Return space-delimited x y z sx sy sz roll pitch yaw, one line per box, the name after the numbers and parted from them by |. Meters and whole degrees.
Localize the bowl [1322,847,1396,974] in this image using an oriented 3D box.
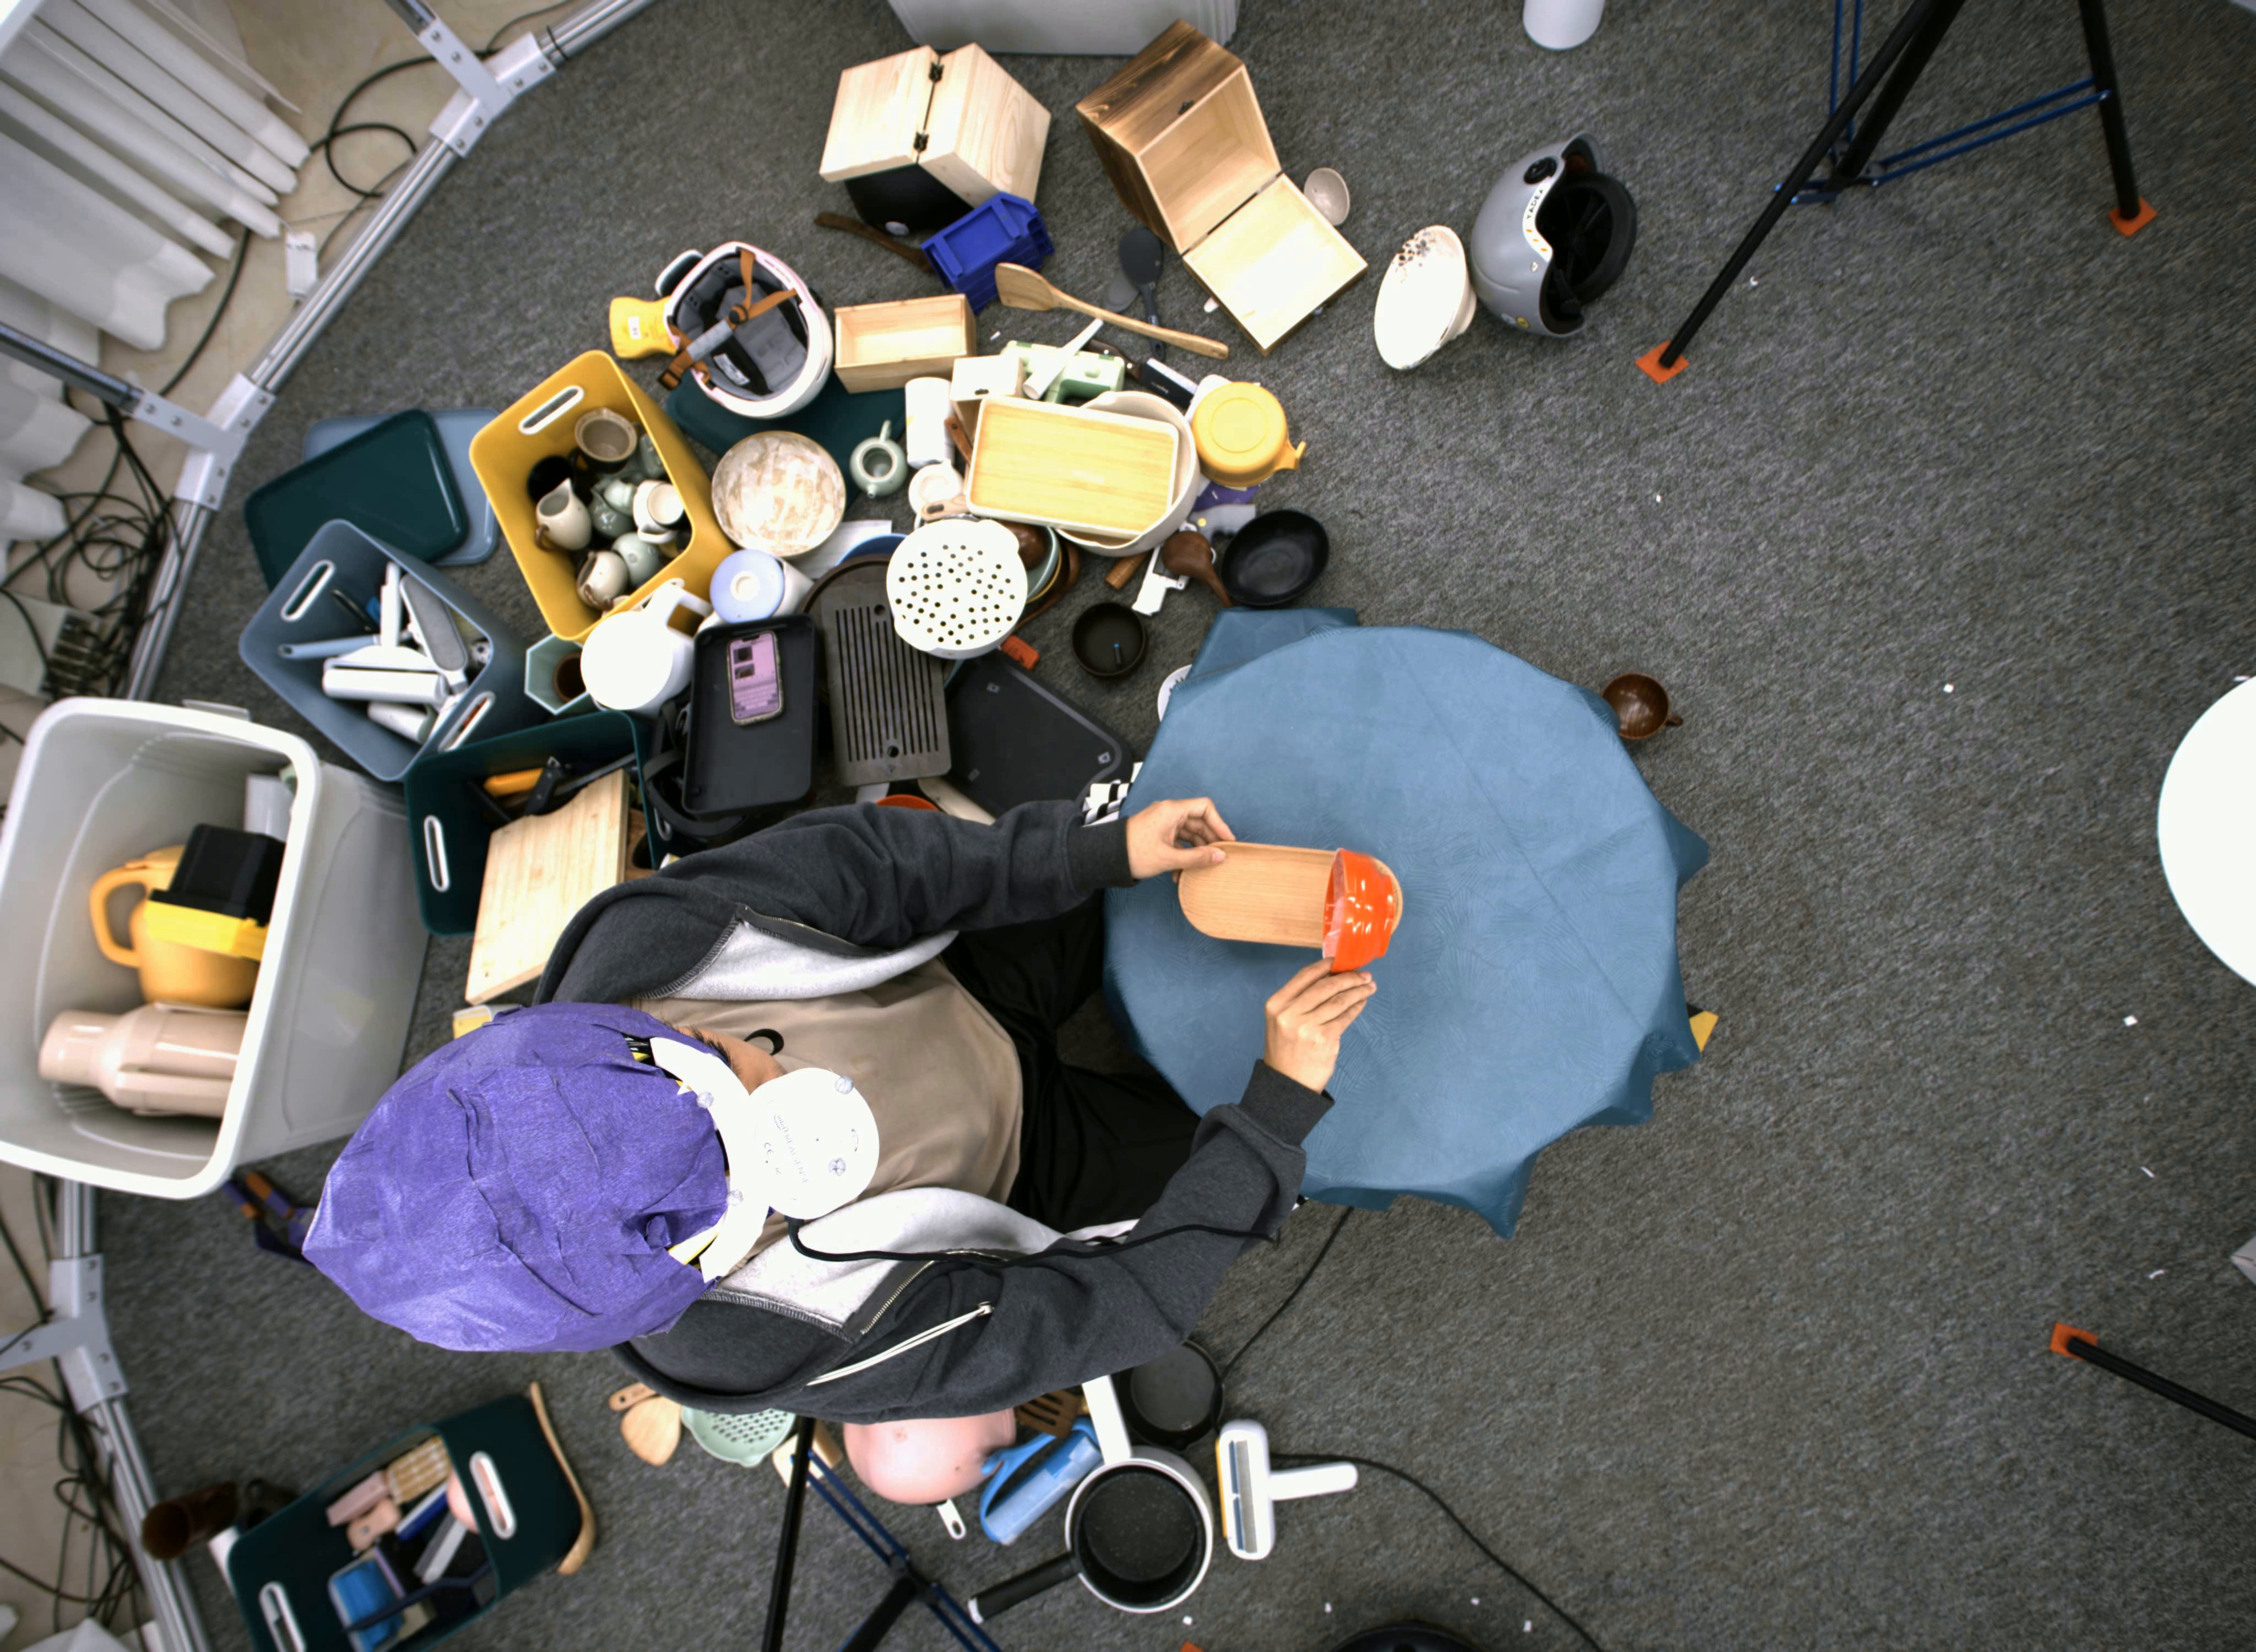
0.216 0.080 1.288 0.051 0.119 0.118 5 86 -2 | bowl

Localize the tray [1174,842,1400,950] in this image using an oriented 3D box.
0.163 0.072 1.416 0.231 0.020 0.101 4 87 0 | tray
